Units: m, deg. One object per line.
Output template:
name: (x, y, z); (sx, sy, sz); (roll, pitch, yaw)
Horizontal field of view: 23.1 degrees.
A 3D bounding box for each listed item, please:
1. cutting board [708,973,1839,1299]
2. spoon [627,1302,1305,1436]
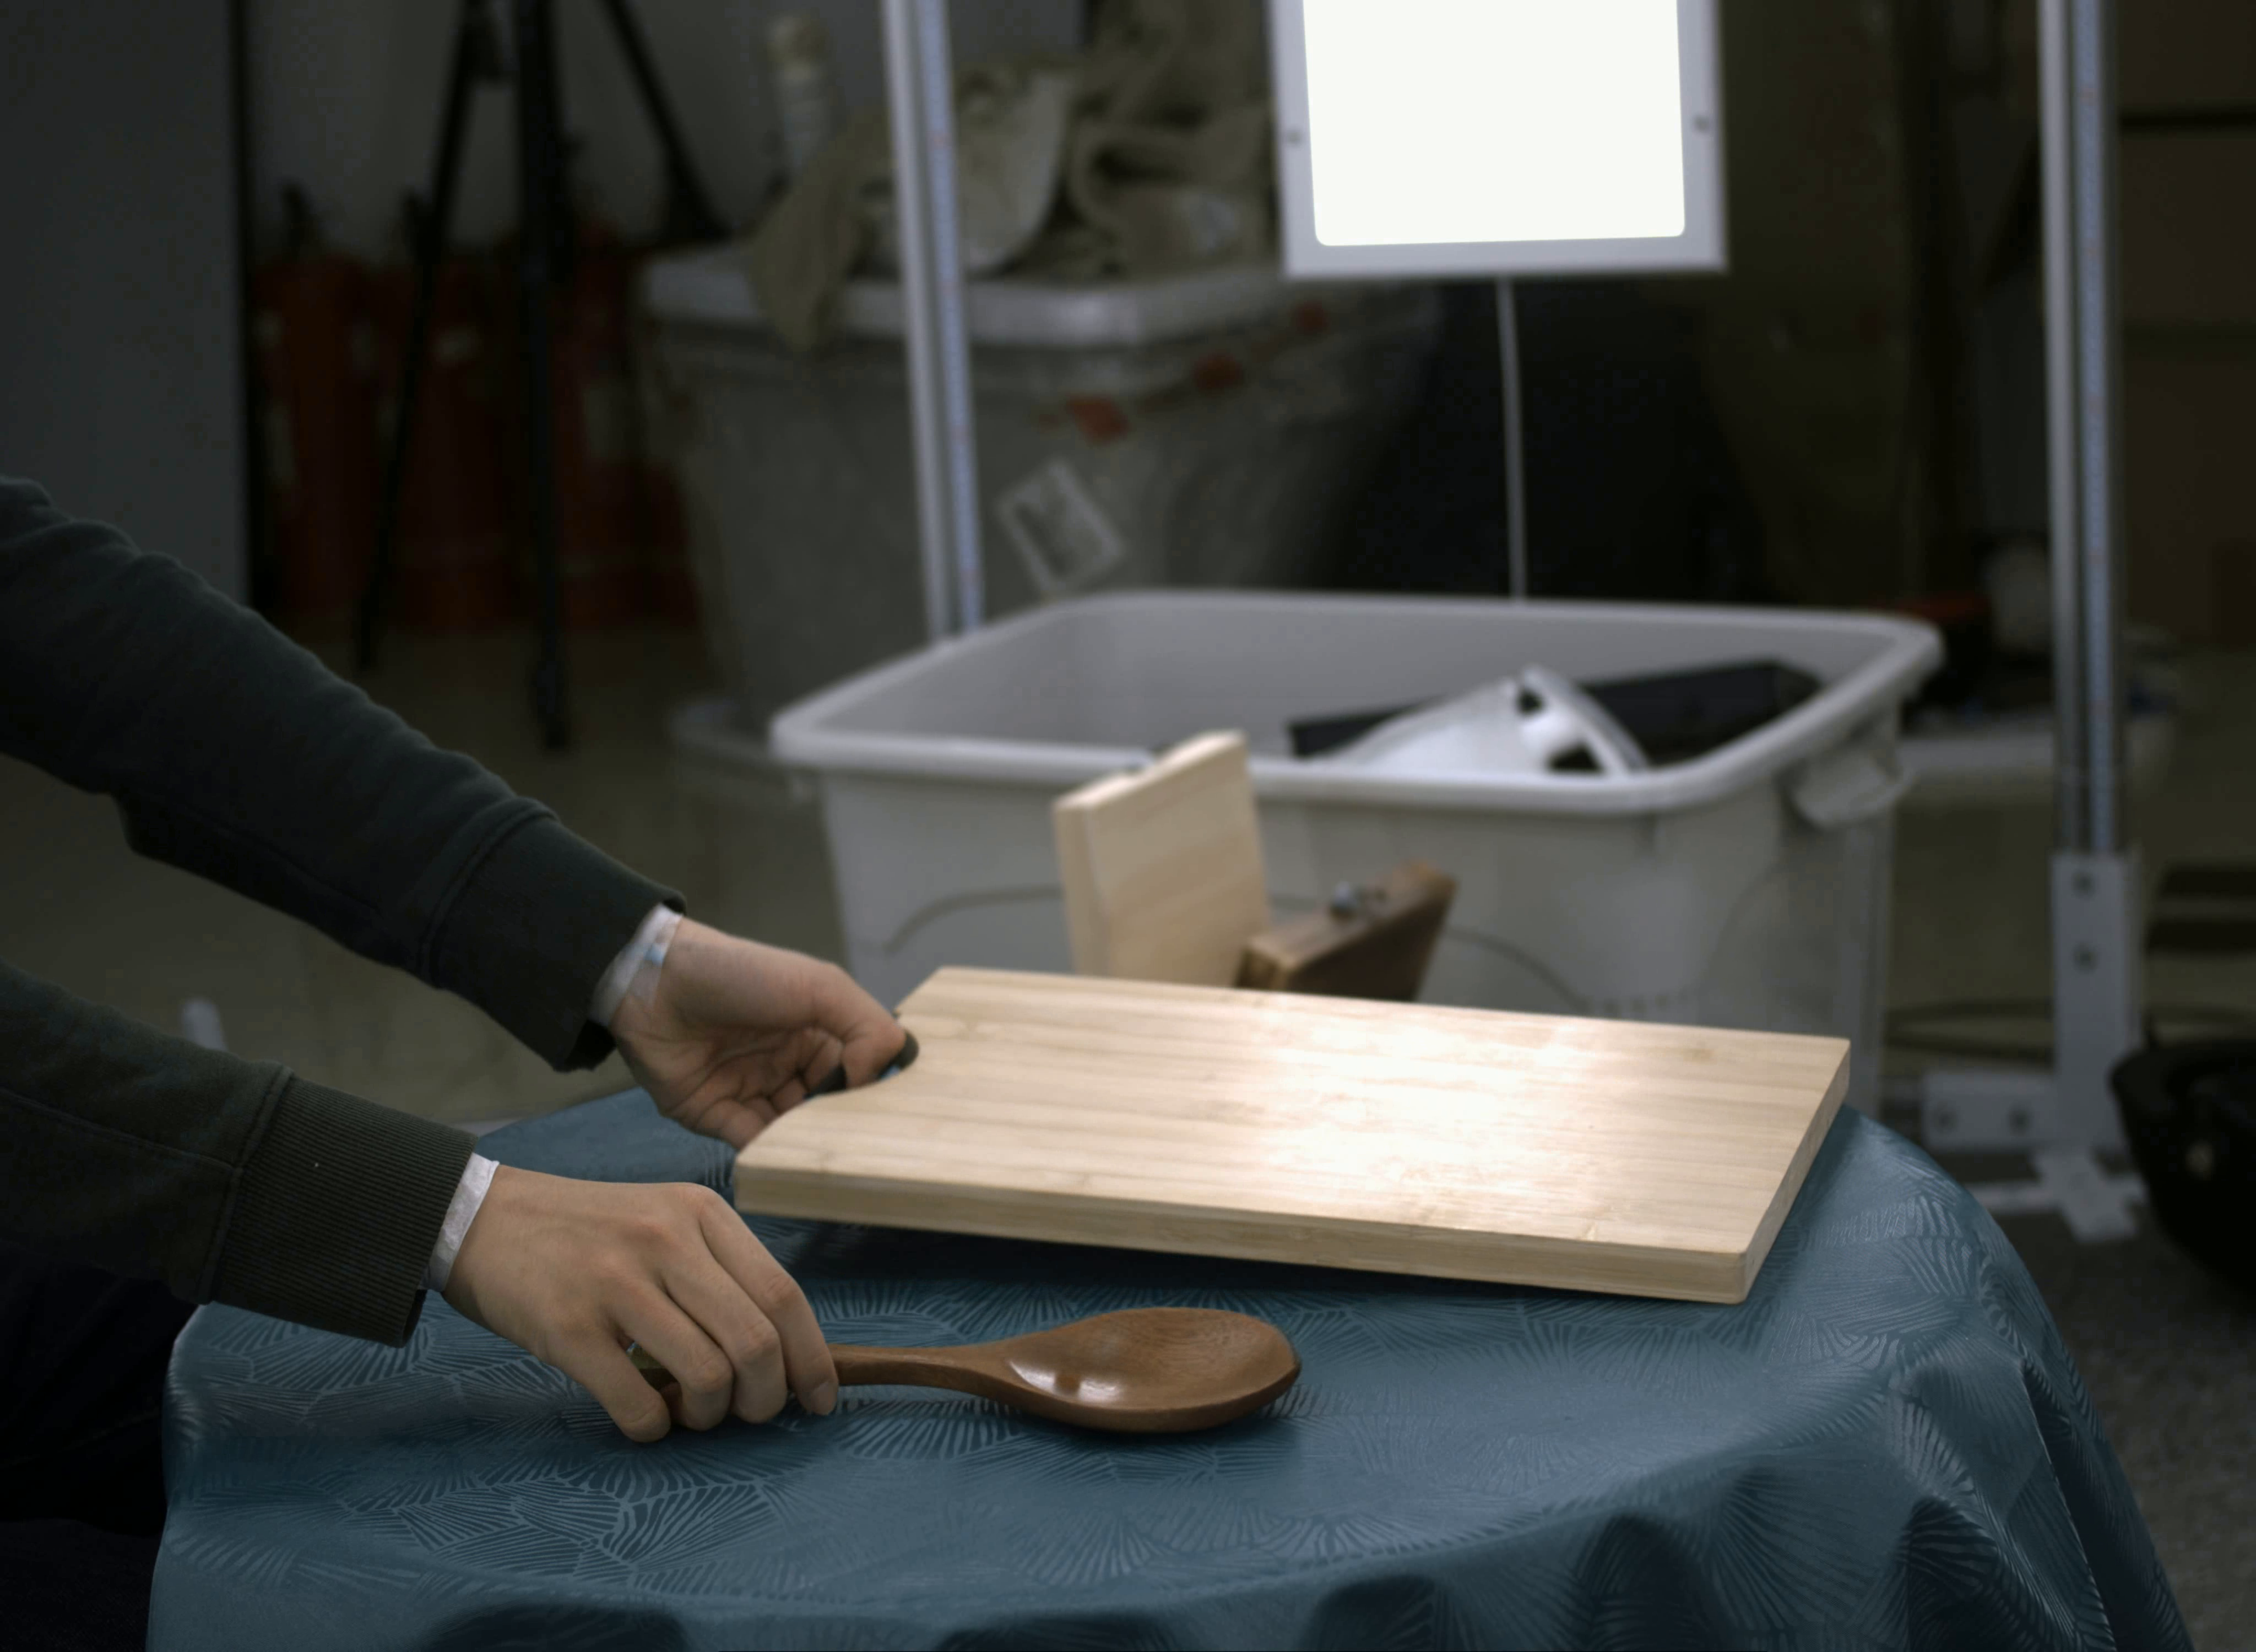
cutting board: (0.057, 0.103, 1.889); (0.352, 0.024, 0.247); (3, 15, 16)
spoon: (-0.051, 0.167, 1.701); (0.218, 0.017, 0.074); (1, 22, 16)
